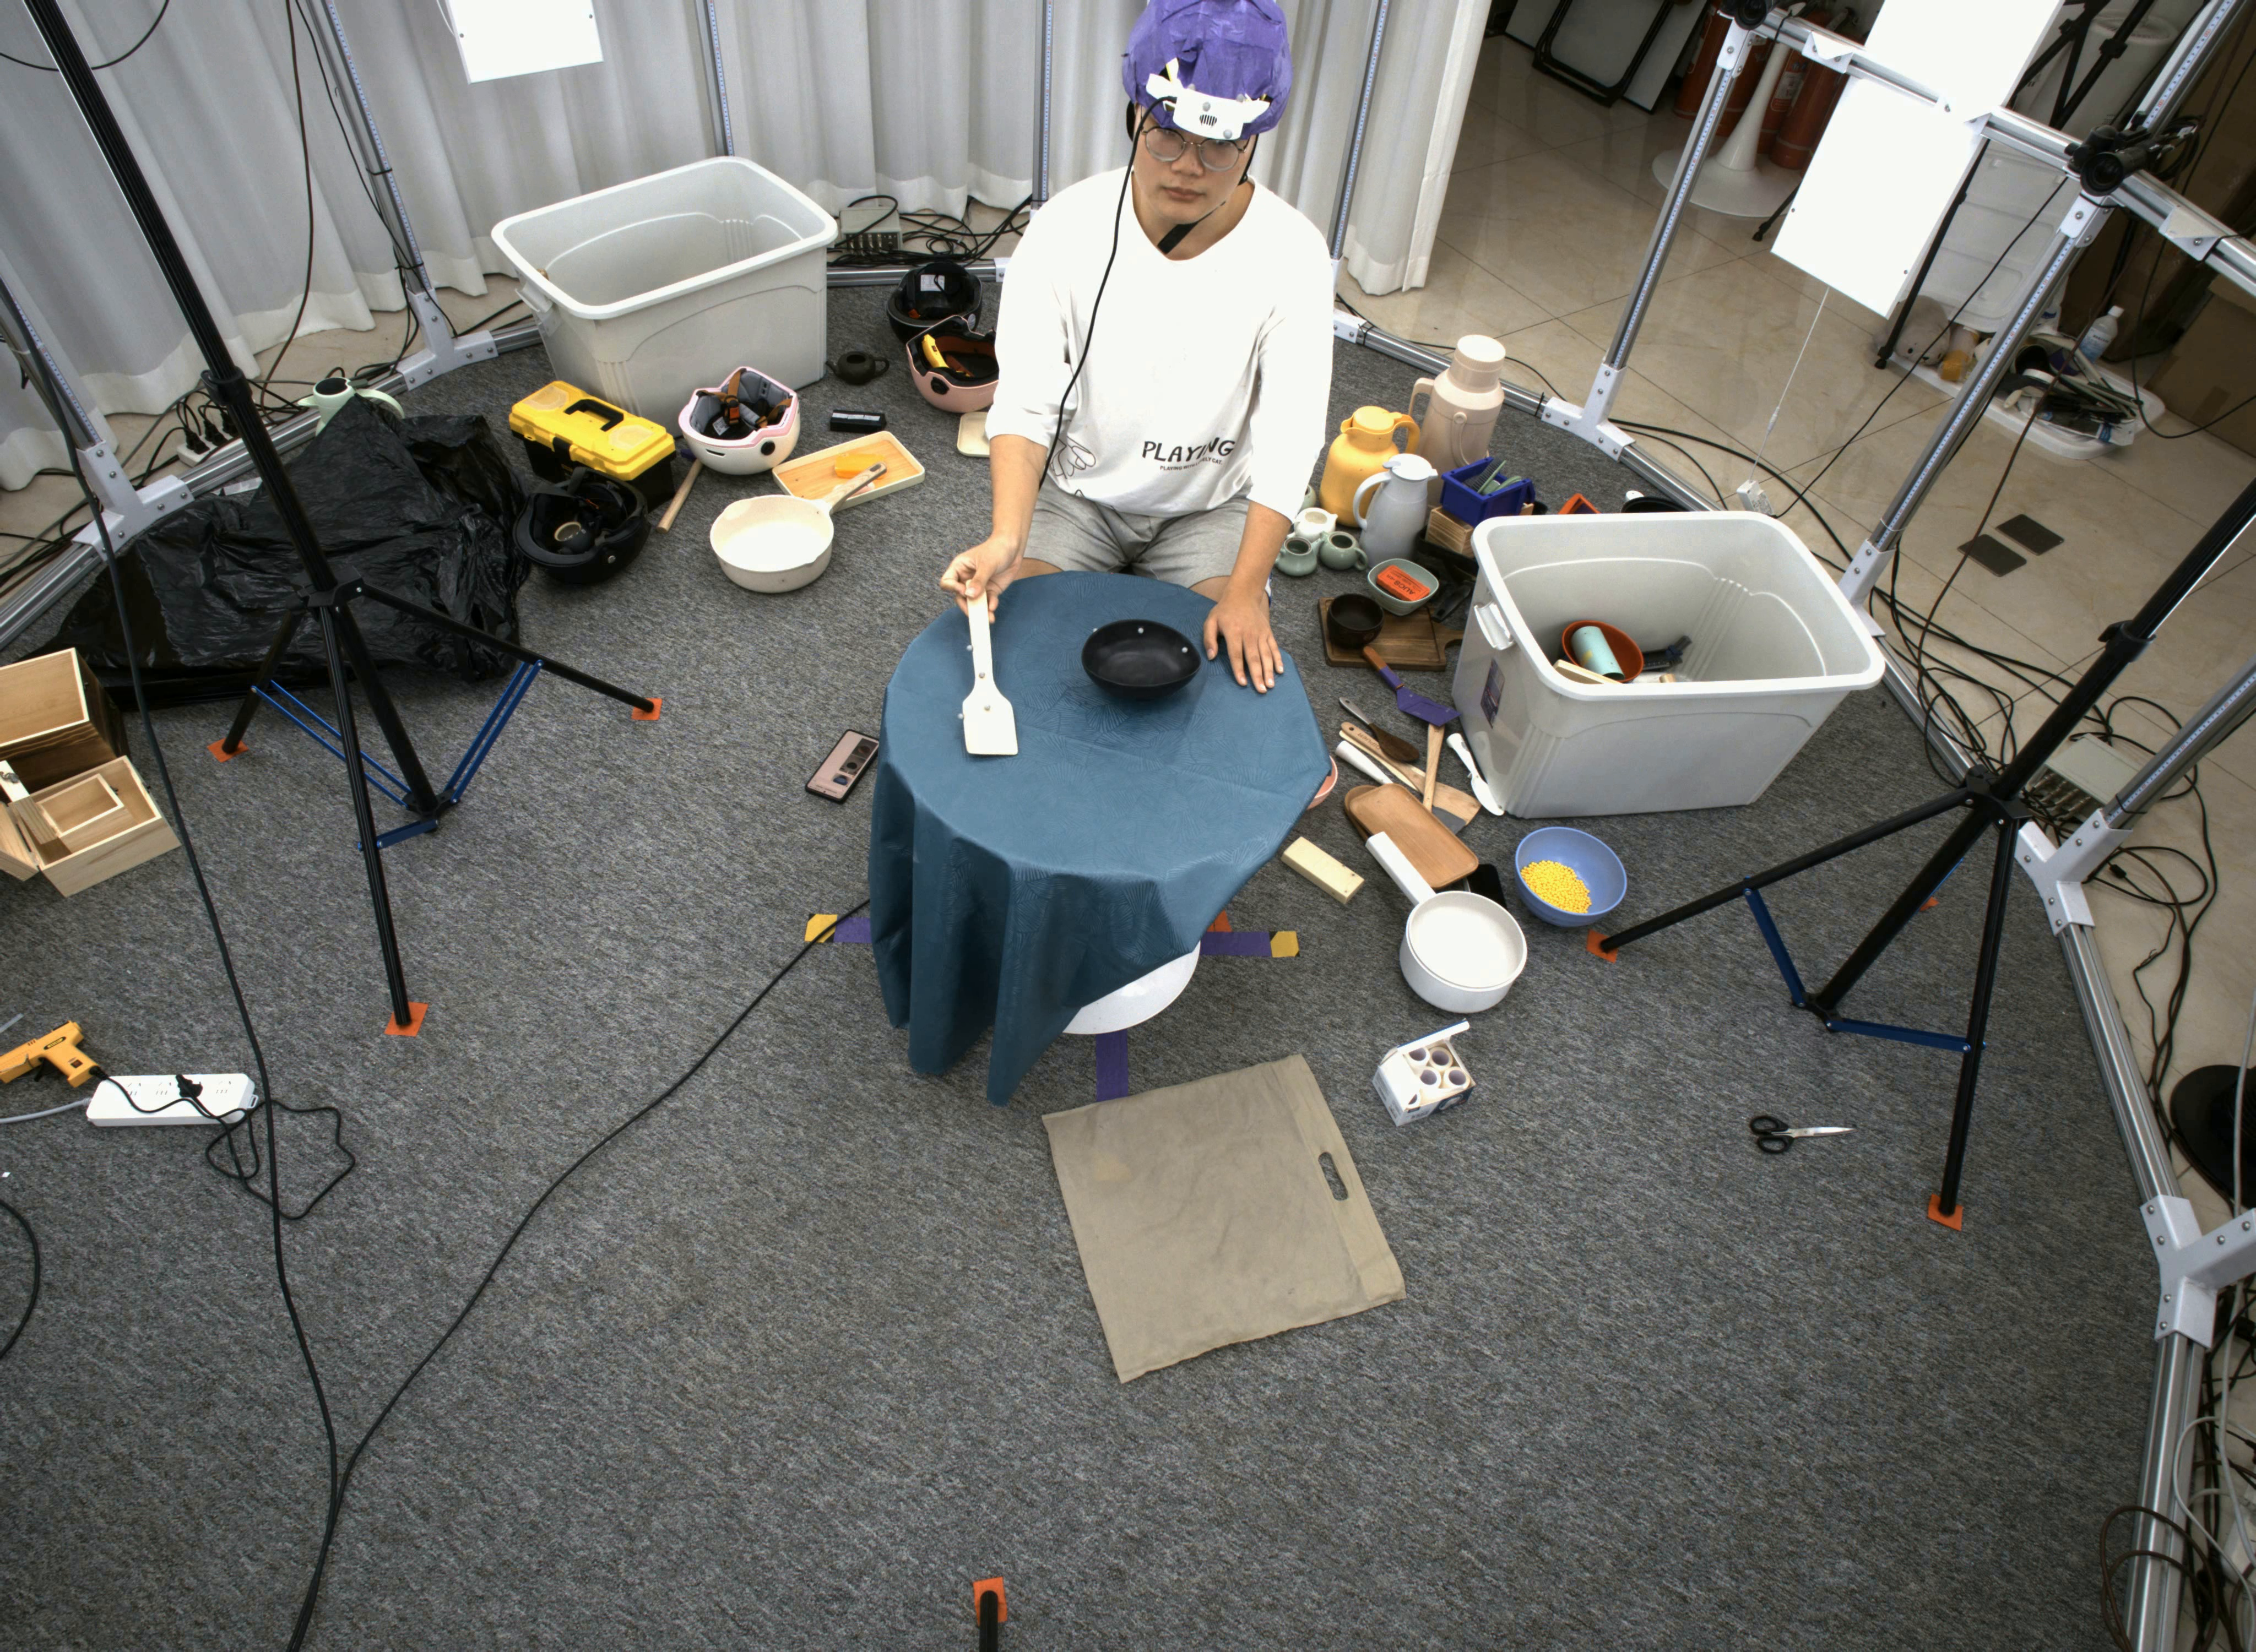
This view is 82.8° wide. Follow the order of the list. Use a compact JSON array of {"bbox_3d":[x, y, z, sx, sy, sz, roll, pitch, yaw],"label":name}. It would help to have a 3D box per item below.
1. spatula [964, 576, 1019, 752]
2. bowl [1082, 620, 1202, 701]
[{"bbox_3d":[-0.201,-0.230,1.799,0.072,0.010,0.299,0,61,-16],"label":"spatula"},{"bbox_3d":[0.018,-0.225,1.820,0.170,0.065,0.141,-3,49,-10],"label":"bowl"}]
